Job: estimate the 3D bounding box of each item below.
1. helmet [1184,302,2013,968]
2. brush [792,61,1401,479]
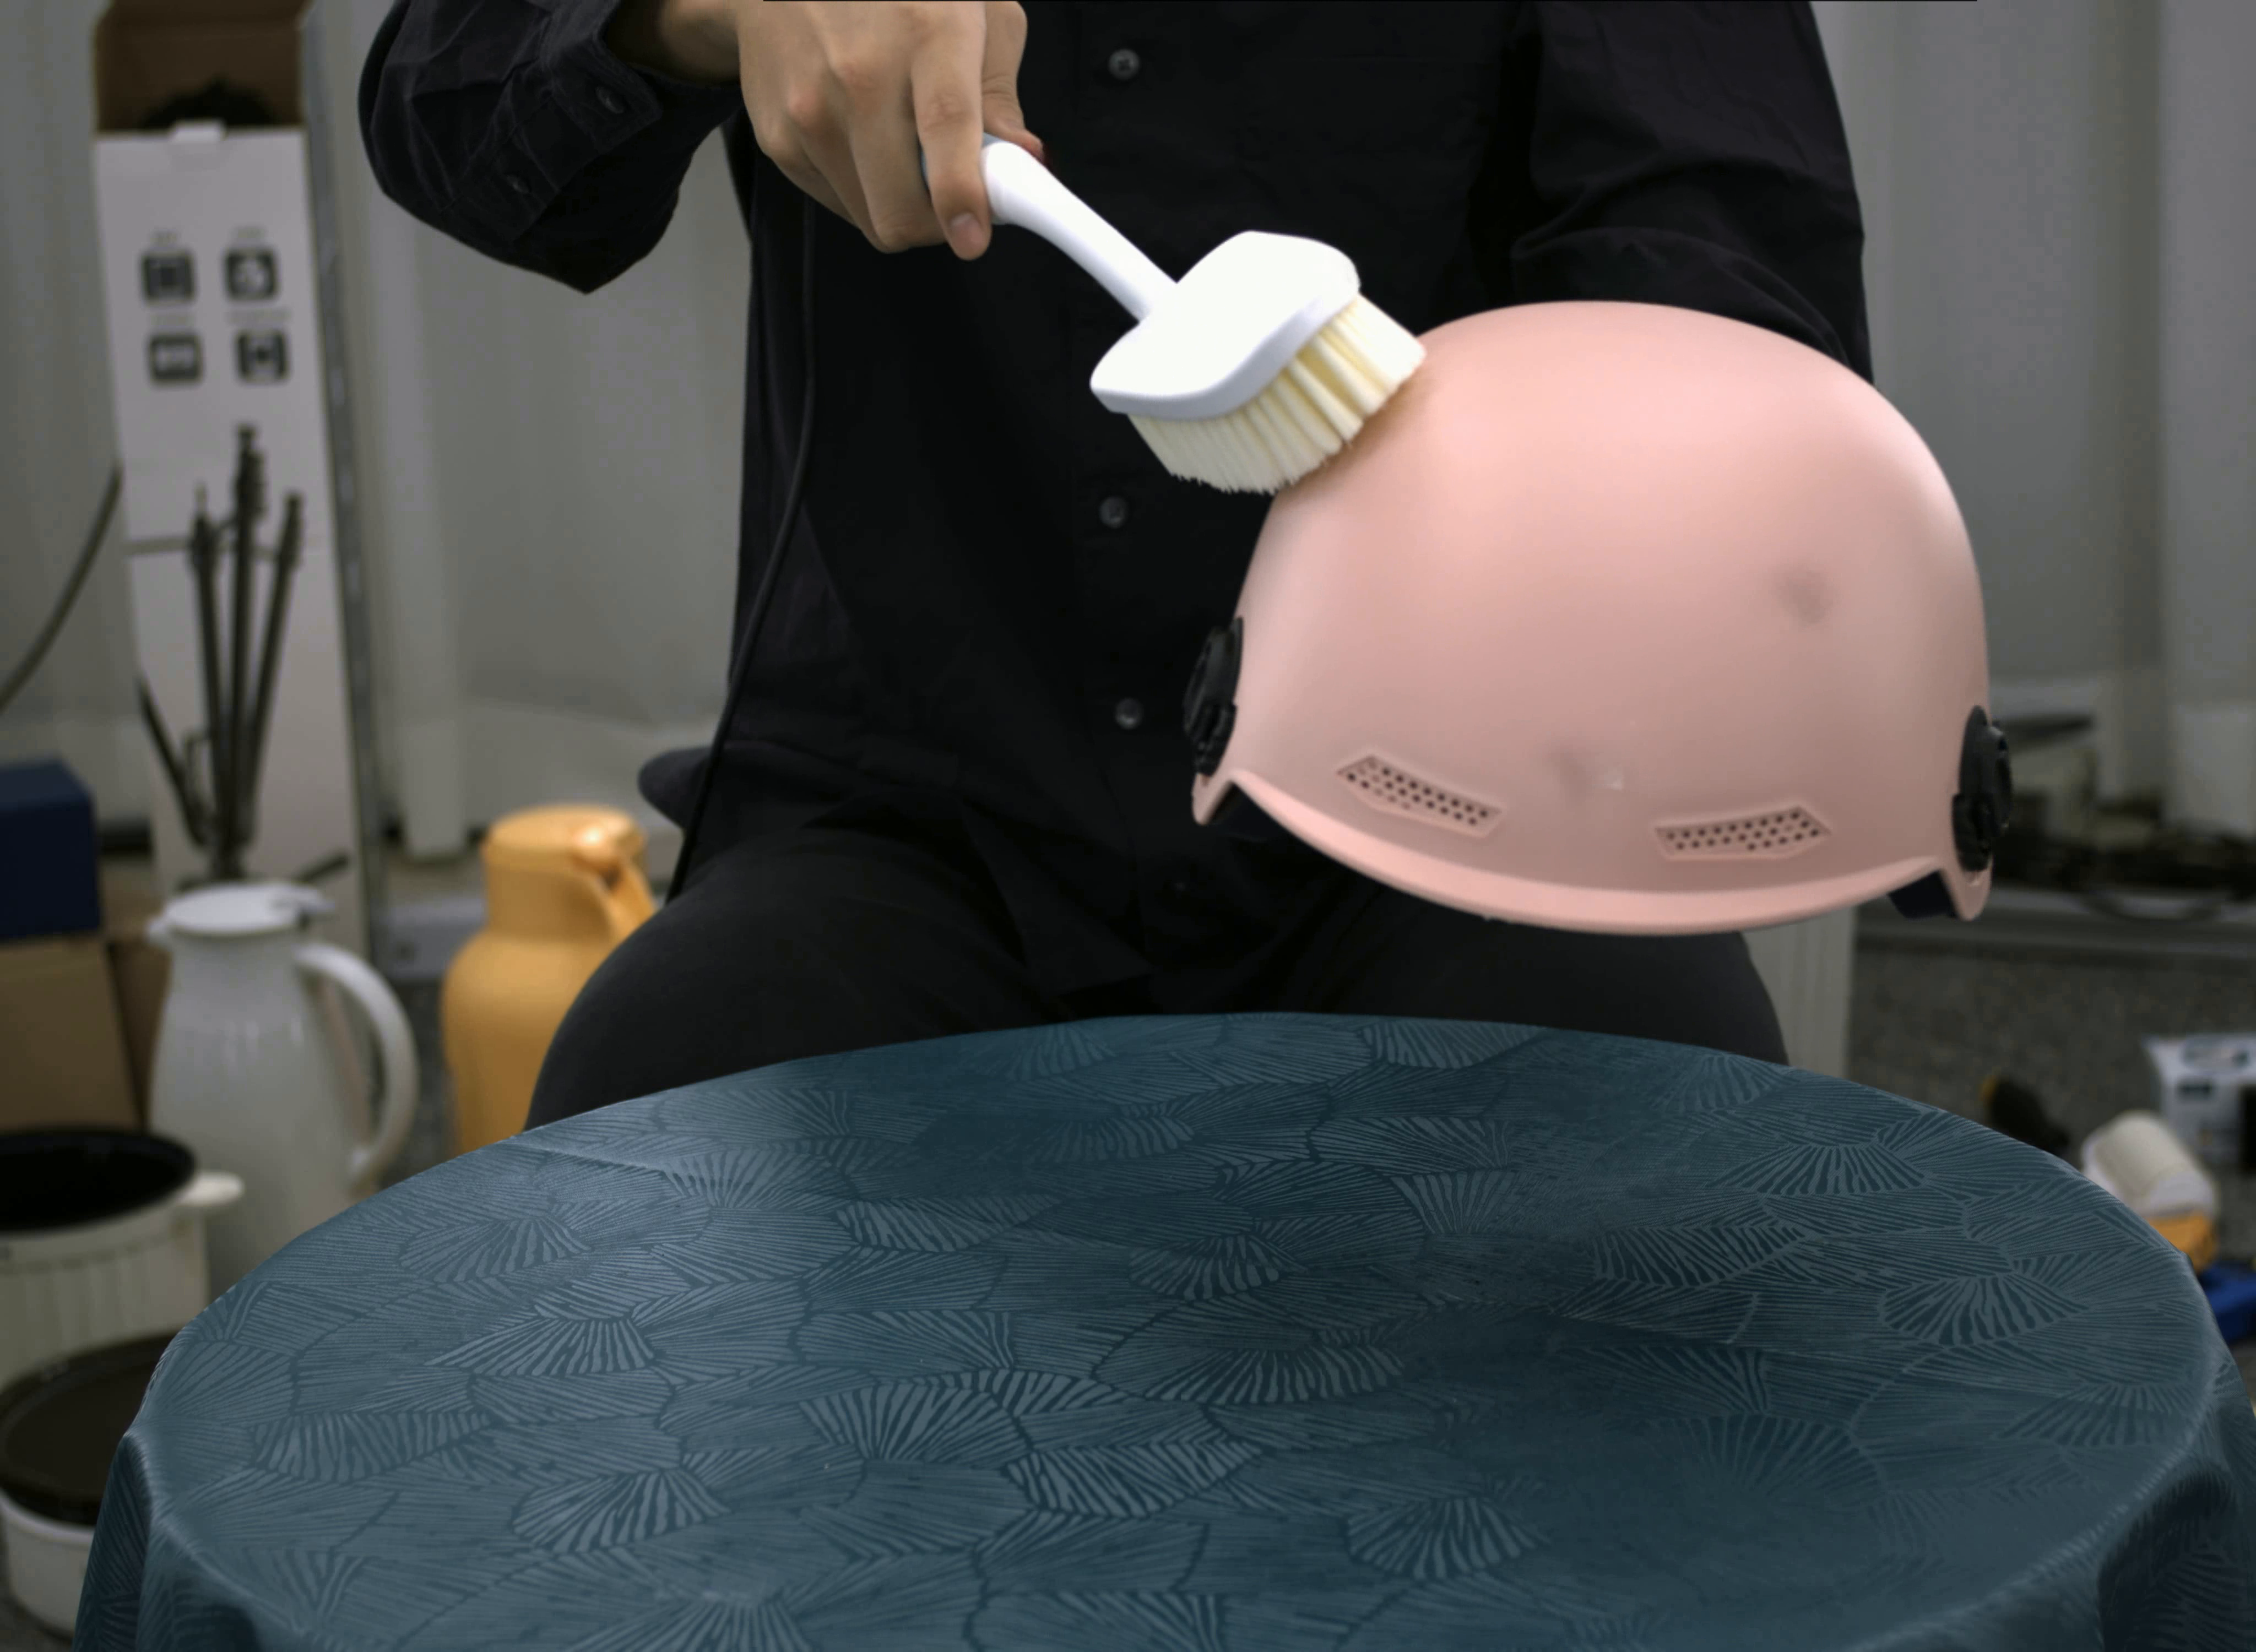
[{"bbox_3d":[0.138,-0.064,1.544,0.233,0.158,0.267,7,15,6],"label":"helmet"},{"bbox_3d":[-0.006,-0.165,1.640,0.083,0.084,0.328,-8,20,-26],"label":"brush"}]
